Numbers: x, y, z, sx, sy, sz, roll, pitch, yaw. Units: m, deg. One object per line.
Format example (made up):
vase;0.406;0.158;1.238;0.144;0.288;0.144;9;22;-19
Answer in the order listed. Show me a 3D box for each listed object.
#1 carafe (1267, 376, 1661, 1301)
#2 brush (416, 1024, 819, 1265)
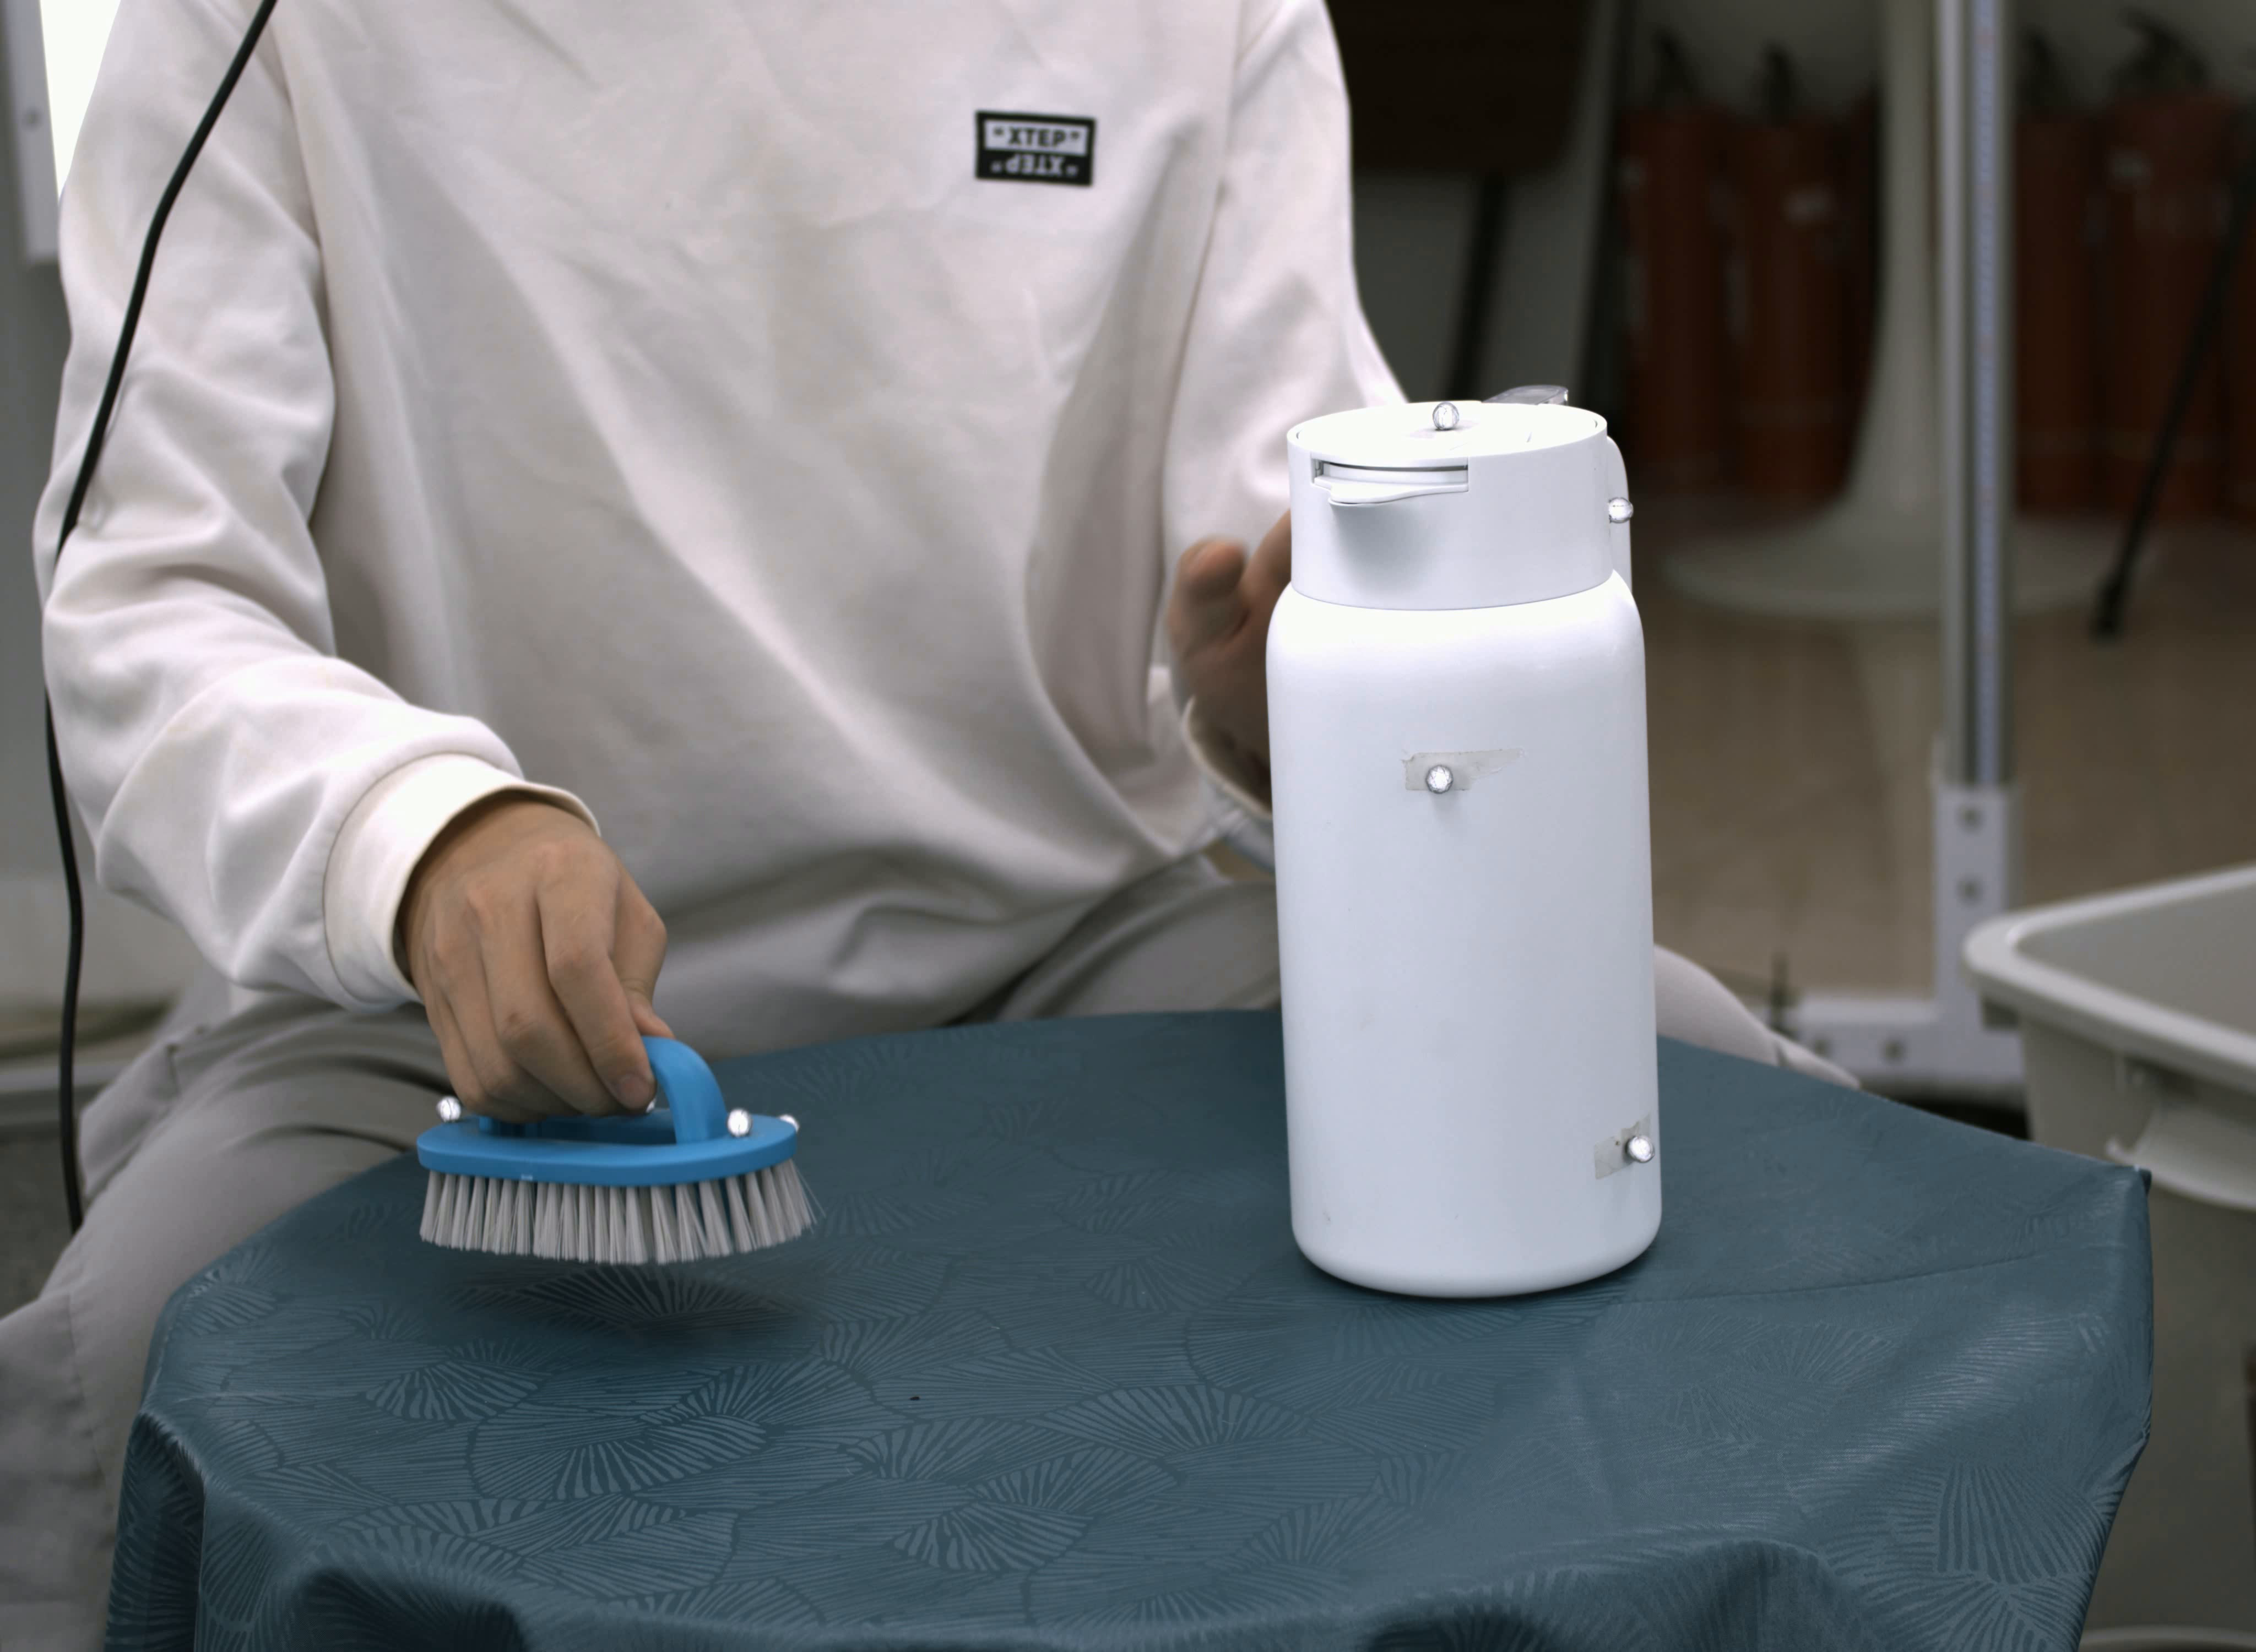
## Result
carafe;0.110;0.000;1.678;0.124;0.272;0.170;2;13;29
brush;-0.163;0.094;1.684;0.143;0.064;0.083;0;12;40
